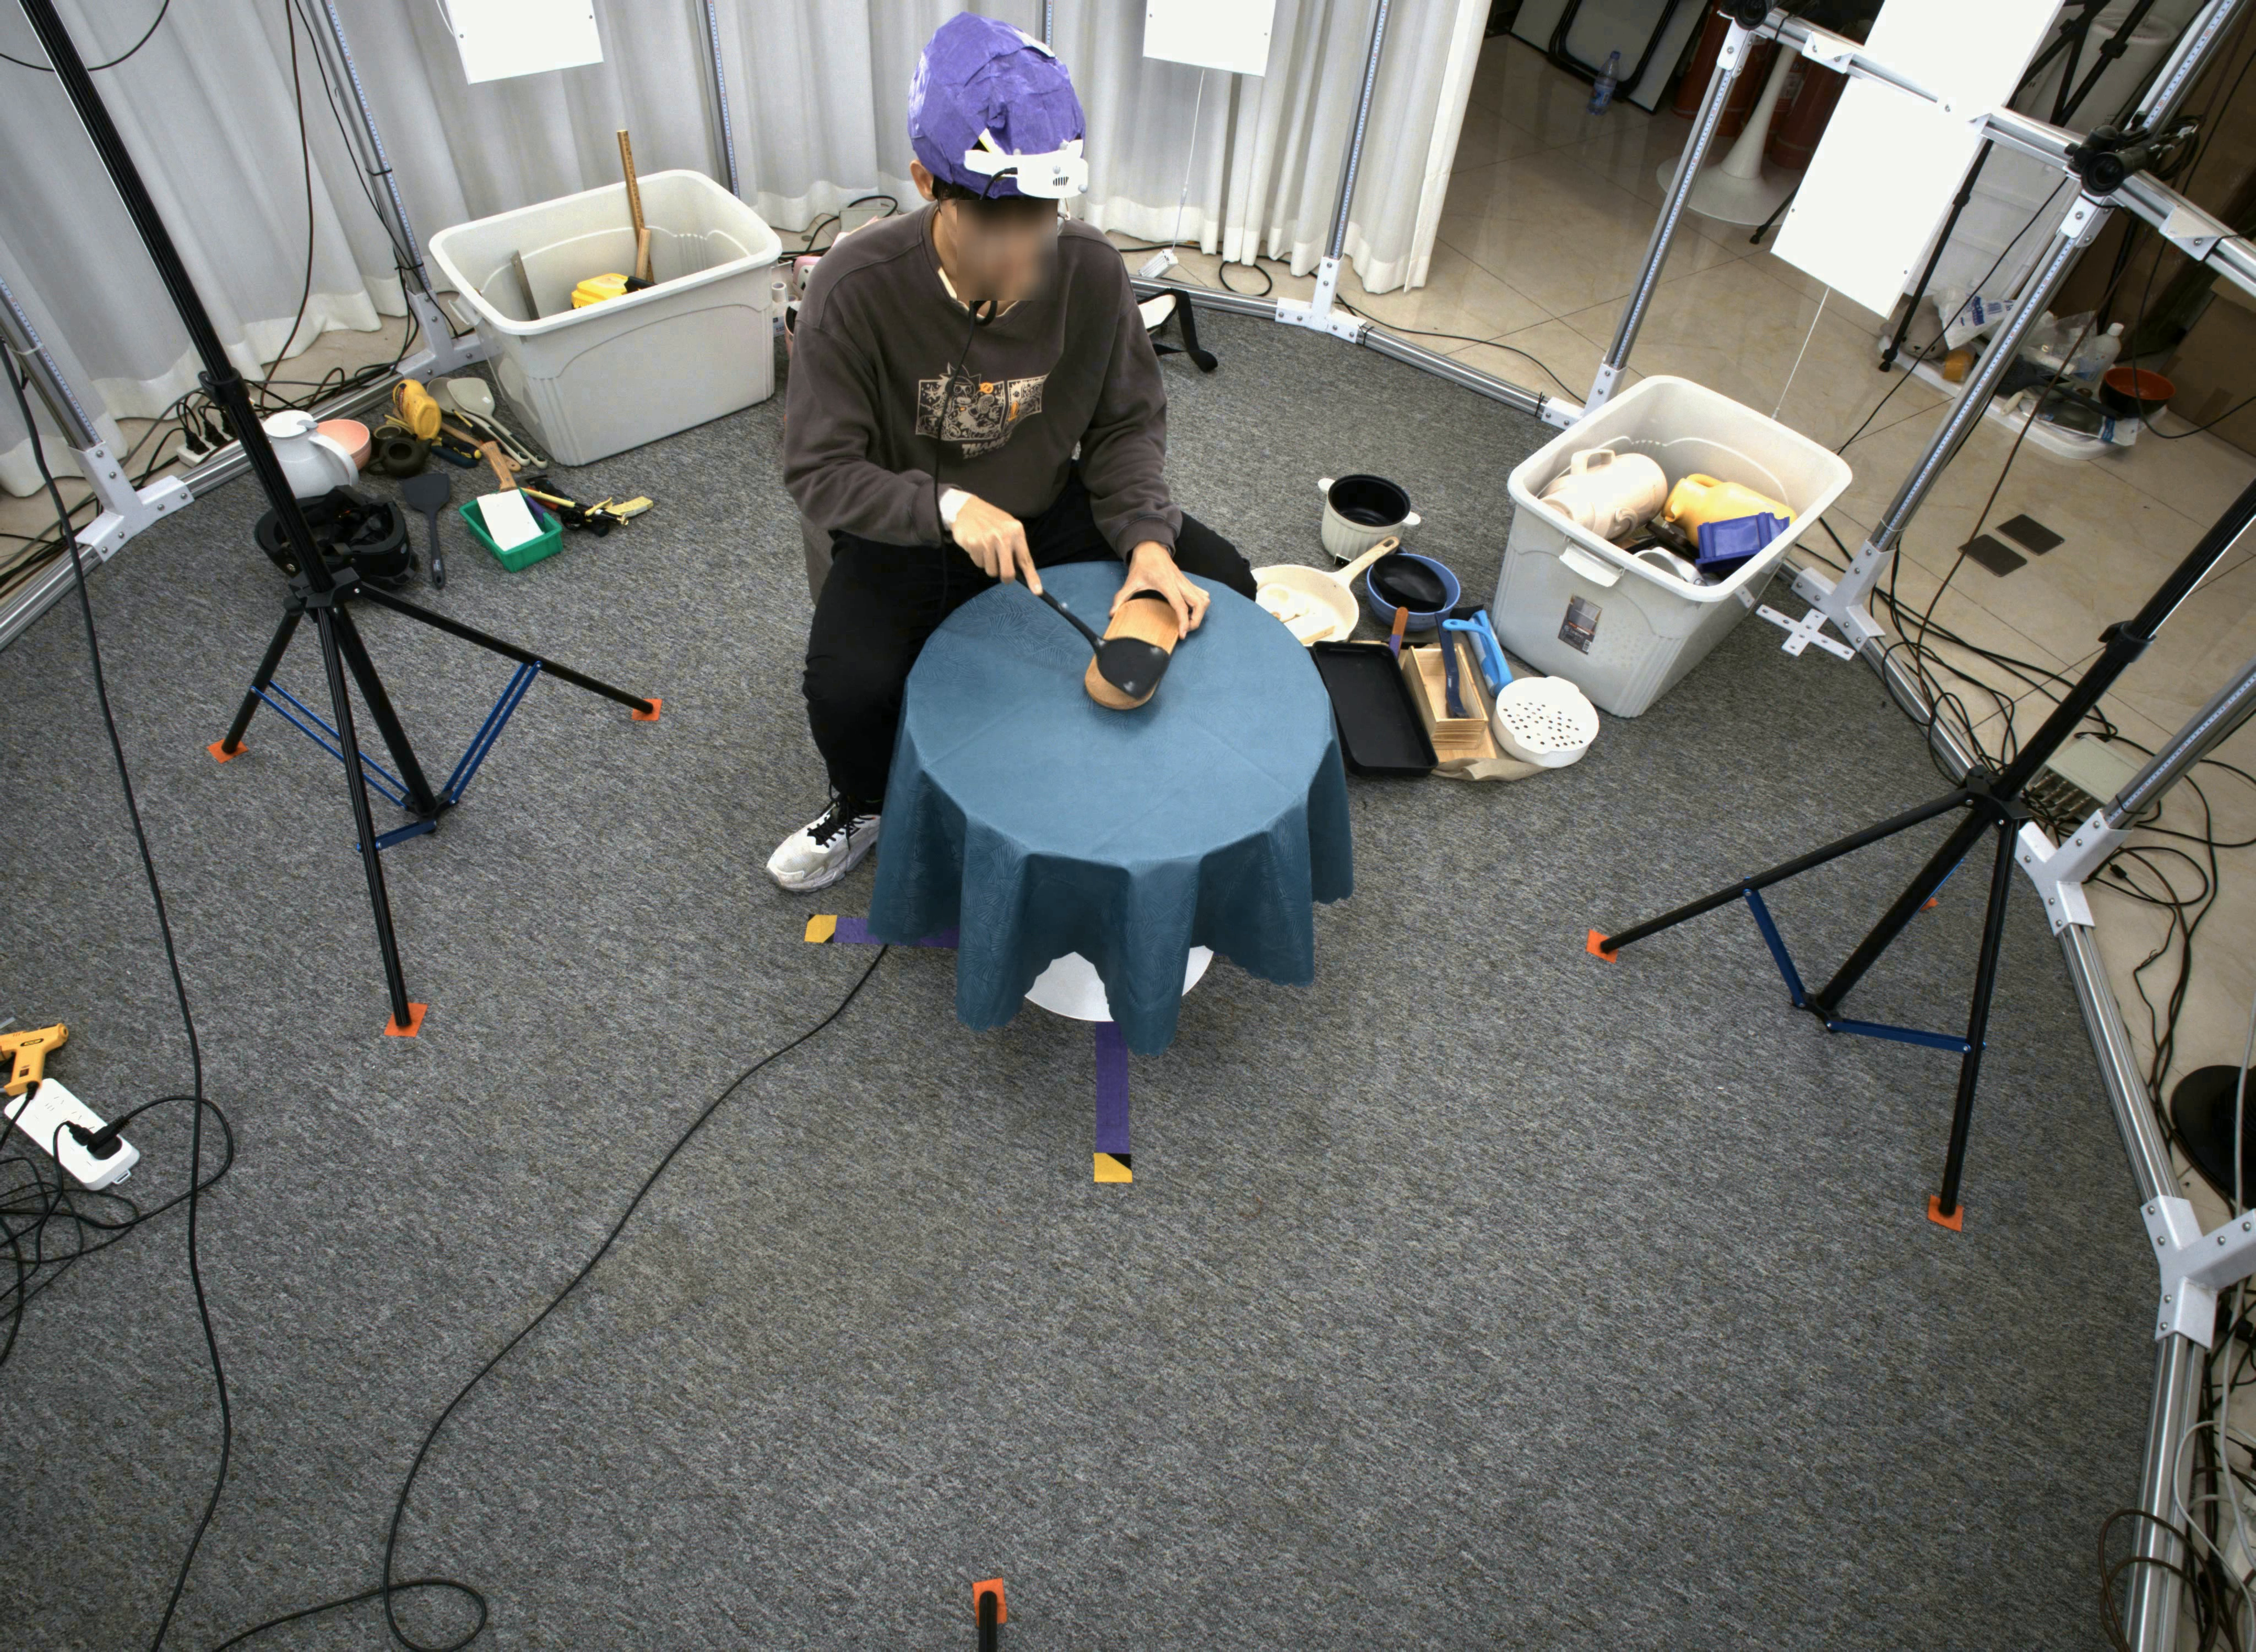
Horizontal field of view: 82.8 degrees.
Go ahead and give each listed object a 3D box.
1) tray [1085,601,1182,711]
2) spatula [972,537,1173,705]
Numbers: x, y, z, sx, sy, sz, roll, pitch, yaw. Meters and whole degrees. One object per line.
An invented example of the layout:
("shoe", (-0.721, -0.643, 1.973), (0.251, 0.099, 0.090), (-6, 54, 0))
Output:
("tray", (0.010, -0.250, 1.873), (0.102, 0.020, 0.236), (15, 51, 11))
("spatula", (-0.083, -0.295, 1.779), (0.324, 0.040, 0.101), (40, 57, -9))
